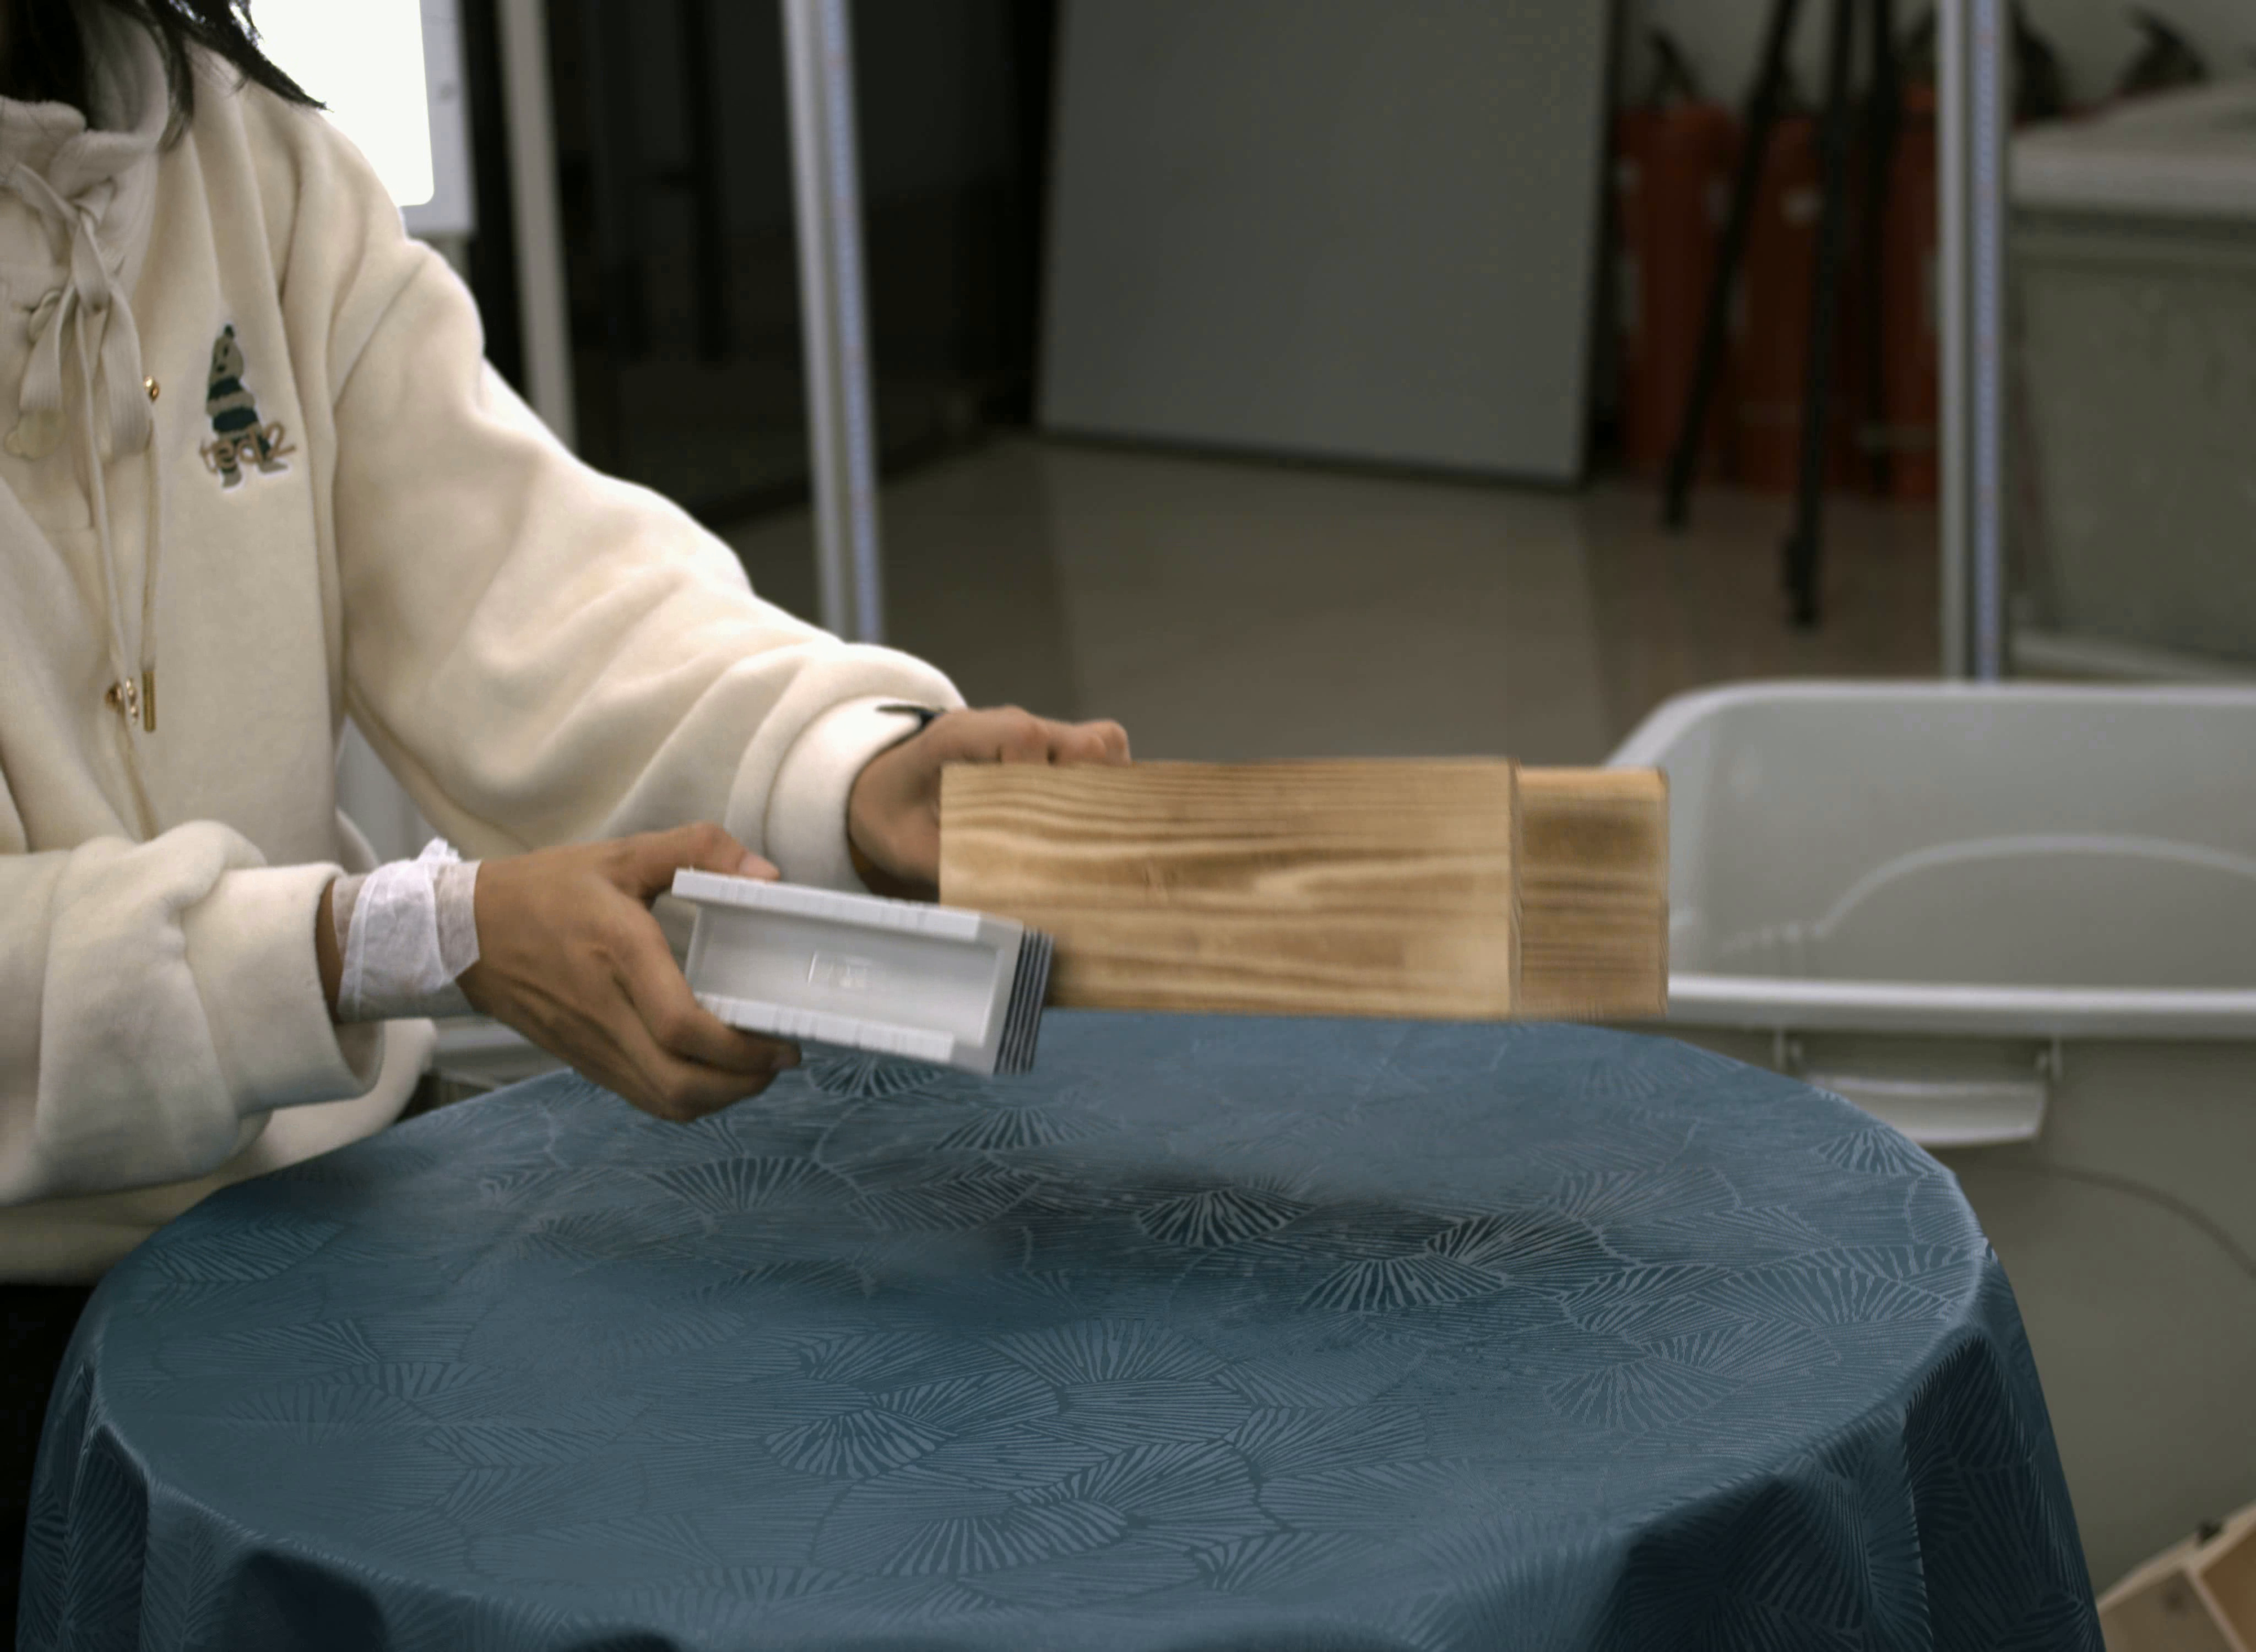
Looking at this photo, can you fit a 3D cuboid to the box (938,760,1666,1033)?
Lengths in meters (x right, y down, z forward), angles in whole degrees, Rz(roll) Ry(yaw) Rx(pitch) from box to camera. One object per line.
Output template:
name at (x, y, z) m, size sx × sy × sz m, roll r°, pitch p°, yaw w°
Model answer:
box at (0.054, 0.022, 1.715) m, size 0.212 × 0.081 × 0.105 m, roll 1°, pitch -2°, yaw 34°

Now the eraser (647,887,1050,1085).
eraser at (-0.090, 0.051, 1.725) m, size 0.135 × 0.050 × 0.045 m, roll 4°, pitch -8°, yaw 40°
